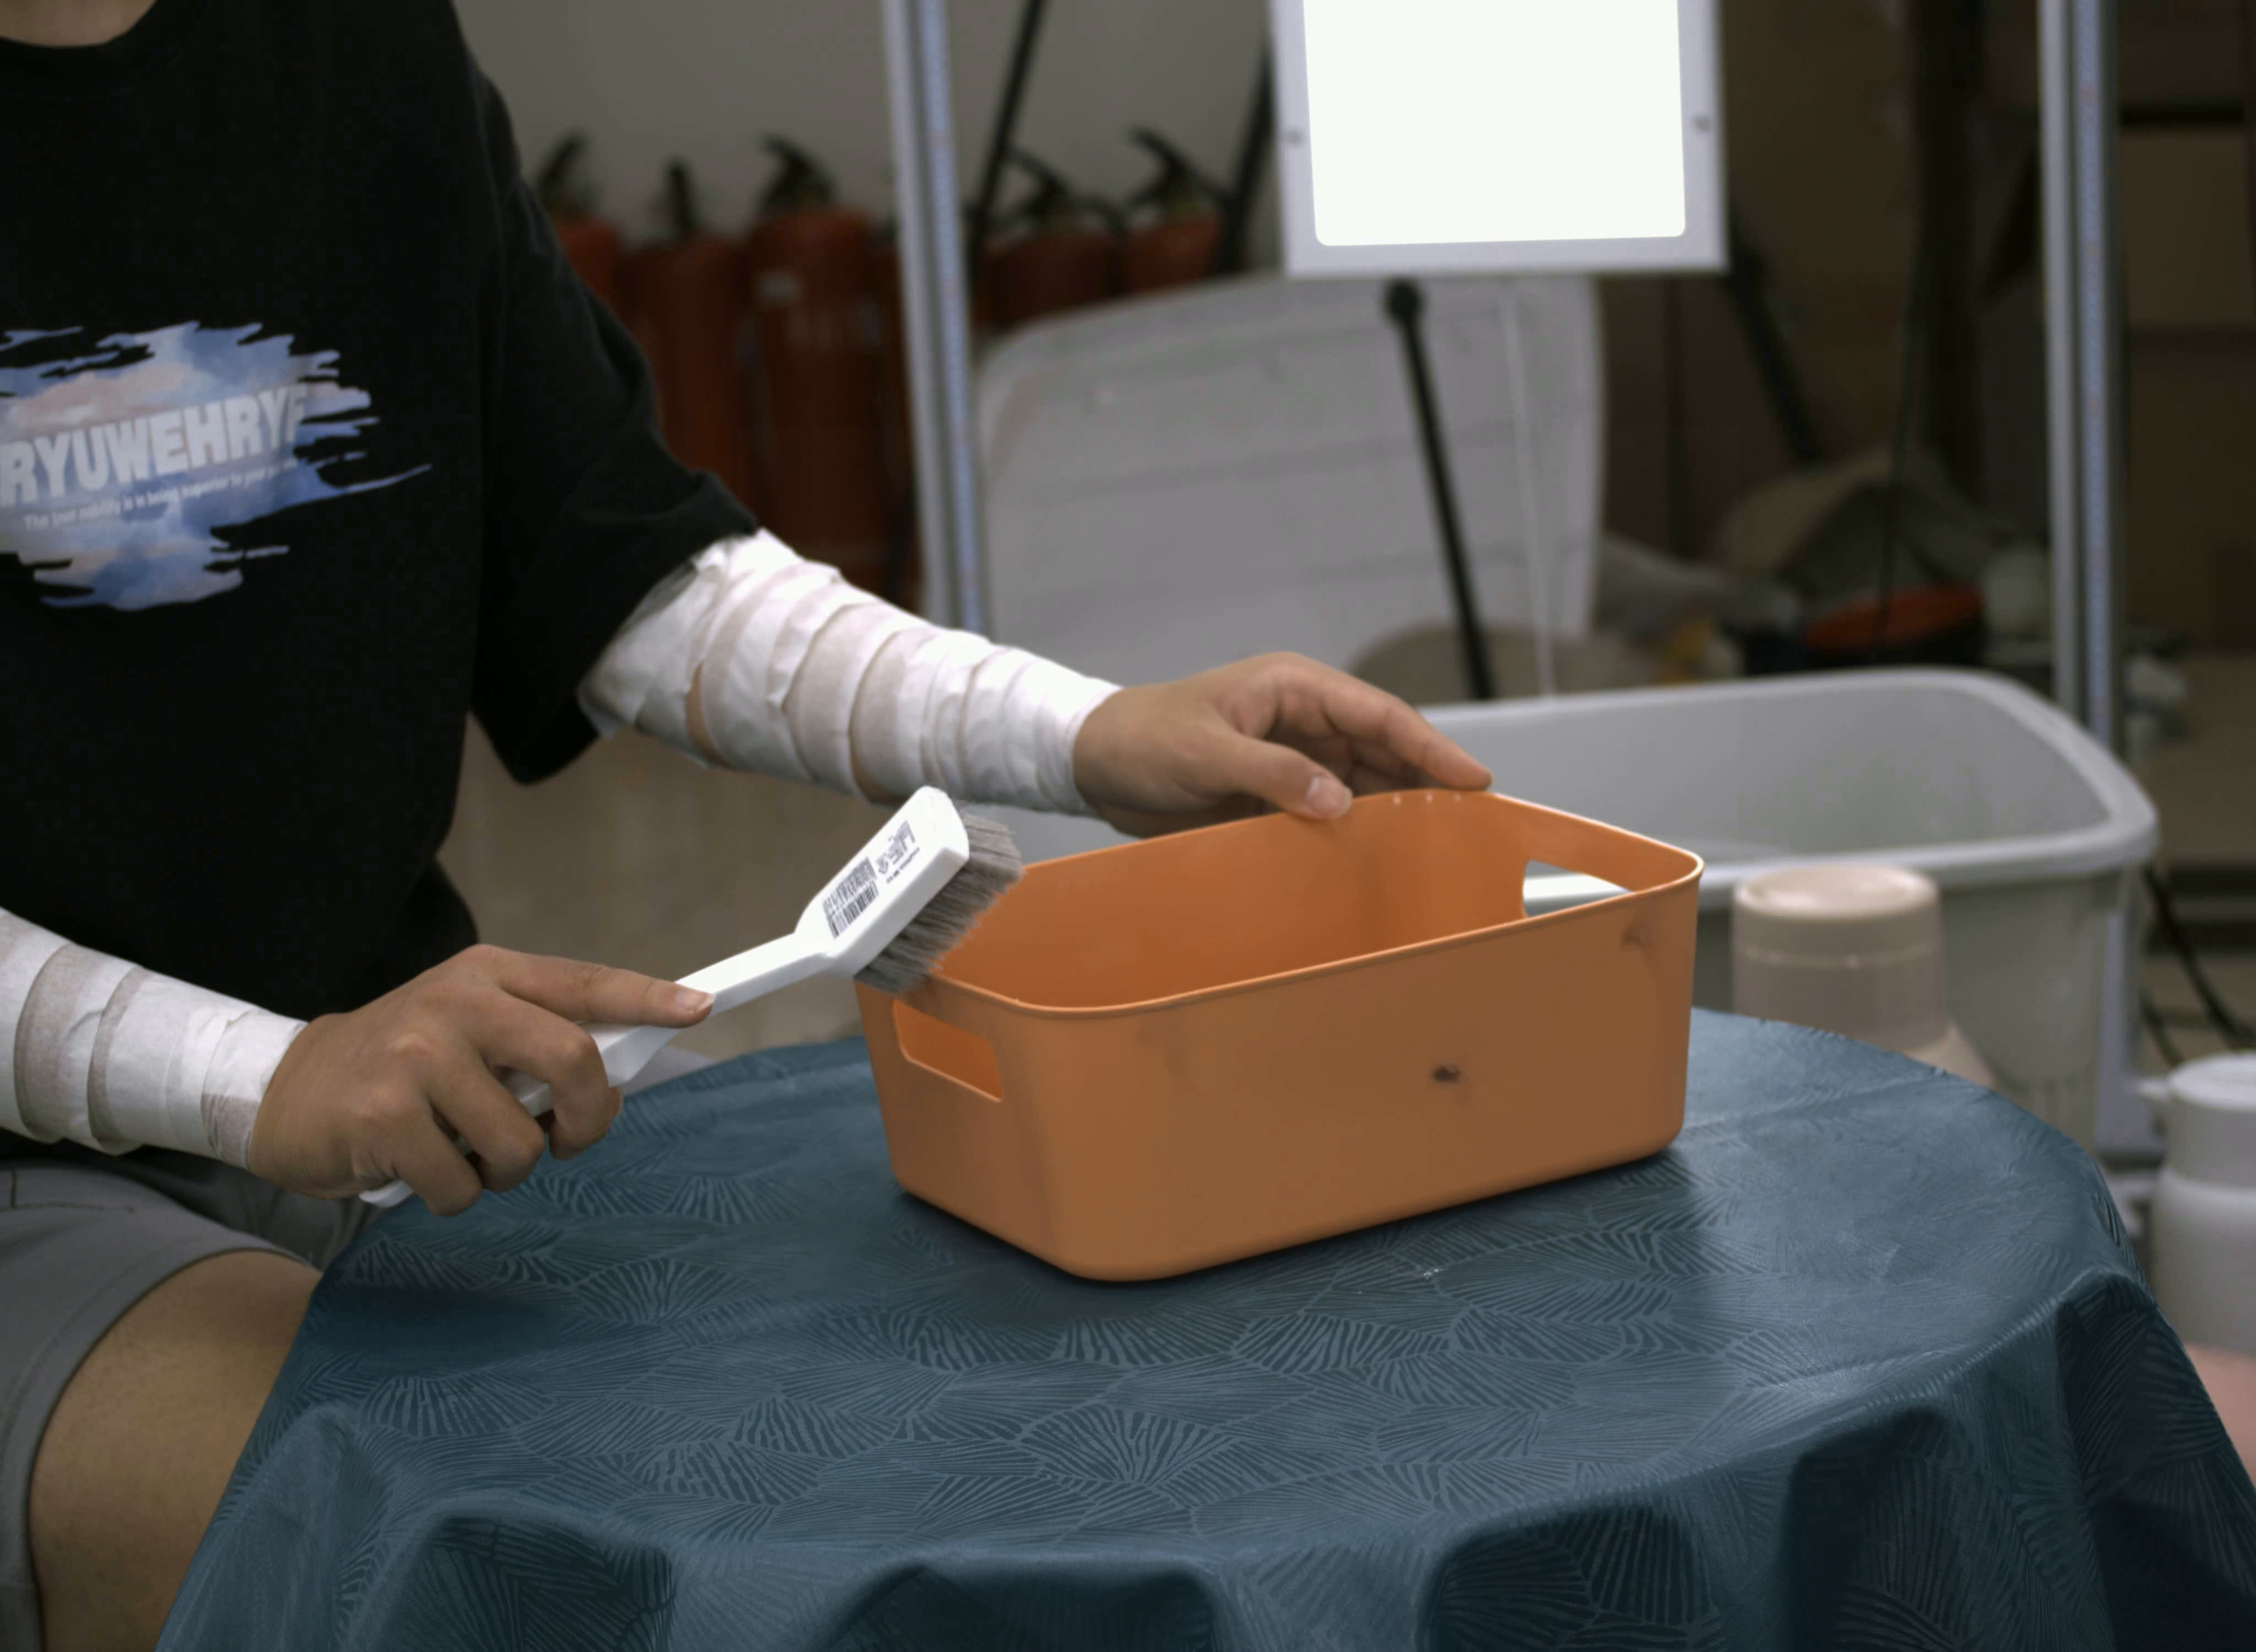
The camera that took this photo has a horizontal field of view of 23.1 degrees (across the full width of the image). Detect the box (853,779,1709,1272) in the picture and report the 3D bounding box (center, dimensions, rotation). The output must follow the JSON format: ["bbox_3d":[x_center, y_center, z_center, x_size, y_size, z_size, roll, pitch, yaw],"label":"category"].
[{"bbox_3d":[0.052,0.066,1.897,0.267,0.103,0.203,-12,16,-26],"label":"box"}]

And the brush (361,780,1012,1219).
[{"bbox_3d":[-0.144,0.068,1.827,0.244,0.049,0.034,-35,42,5],"label":"brush"}]
